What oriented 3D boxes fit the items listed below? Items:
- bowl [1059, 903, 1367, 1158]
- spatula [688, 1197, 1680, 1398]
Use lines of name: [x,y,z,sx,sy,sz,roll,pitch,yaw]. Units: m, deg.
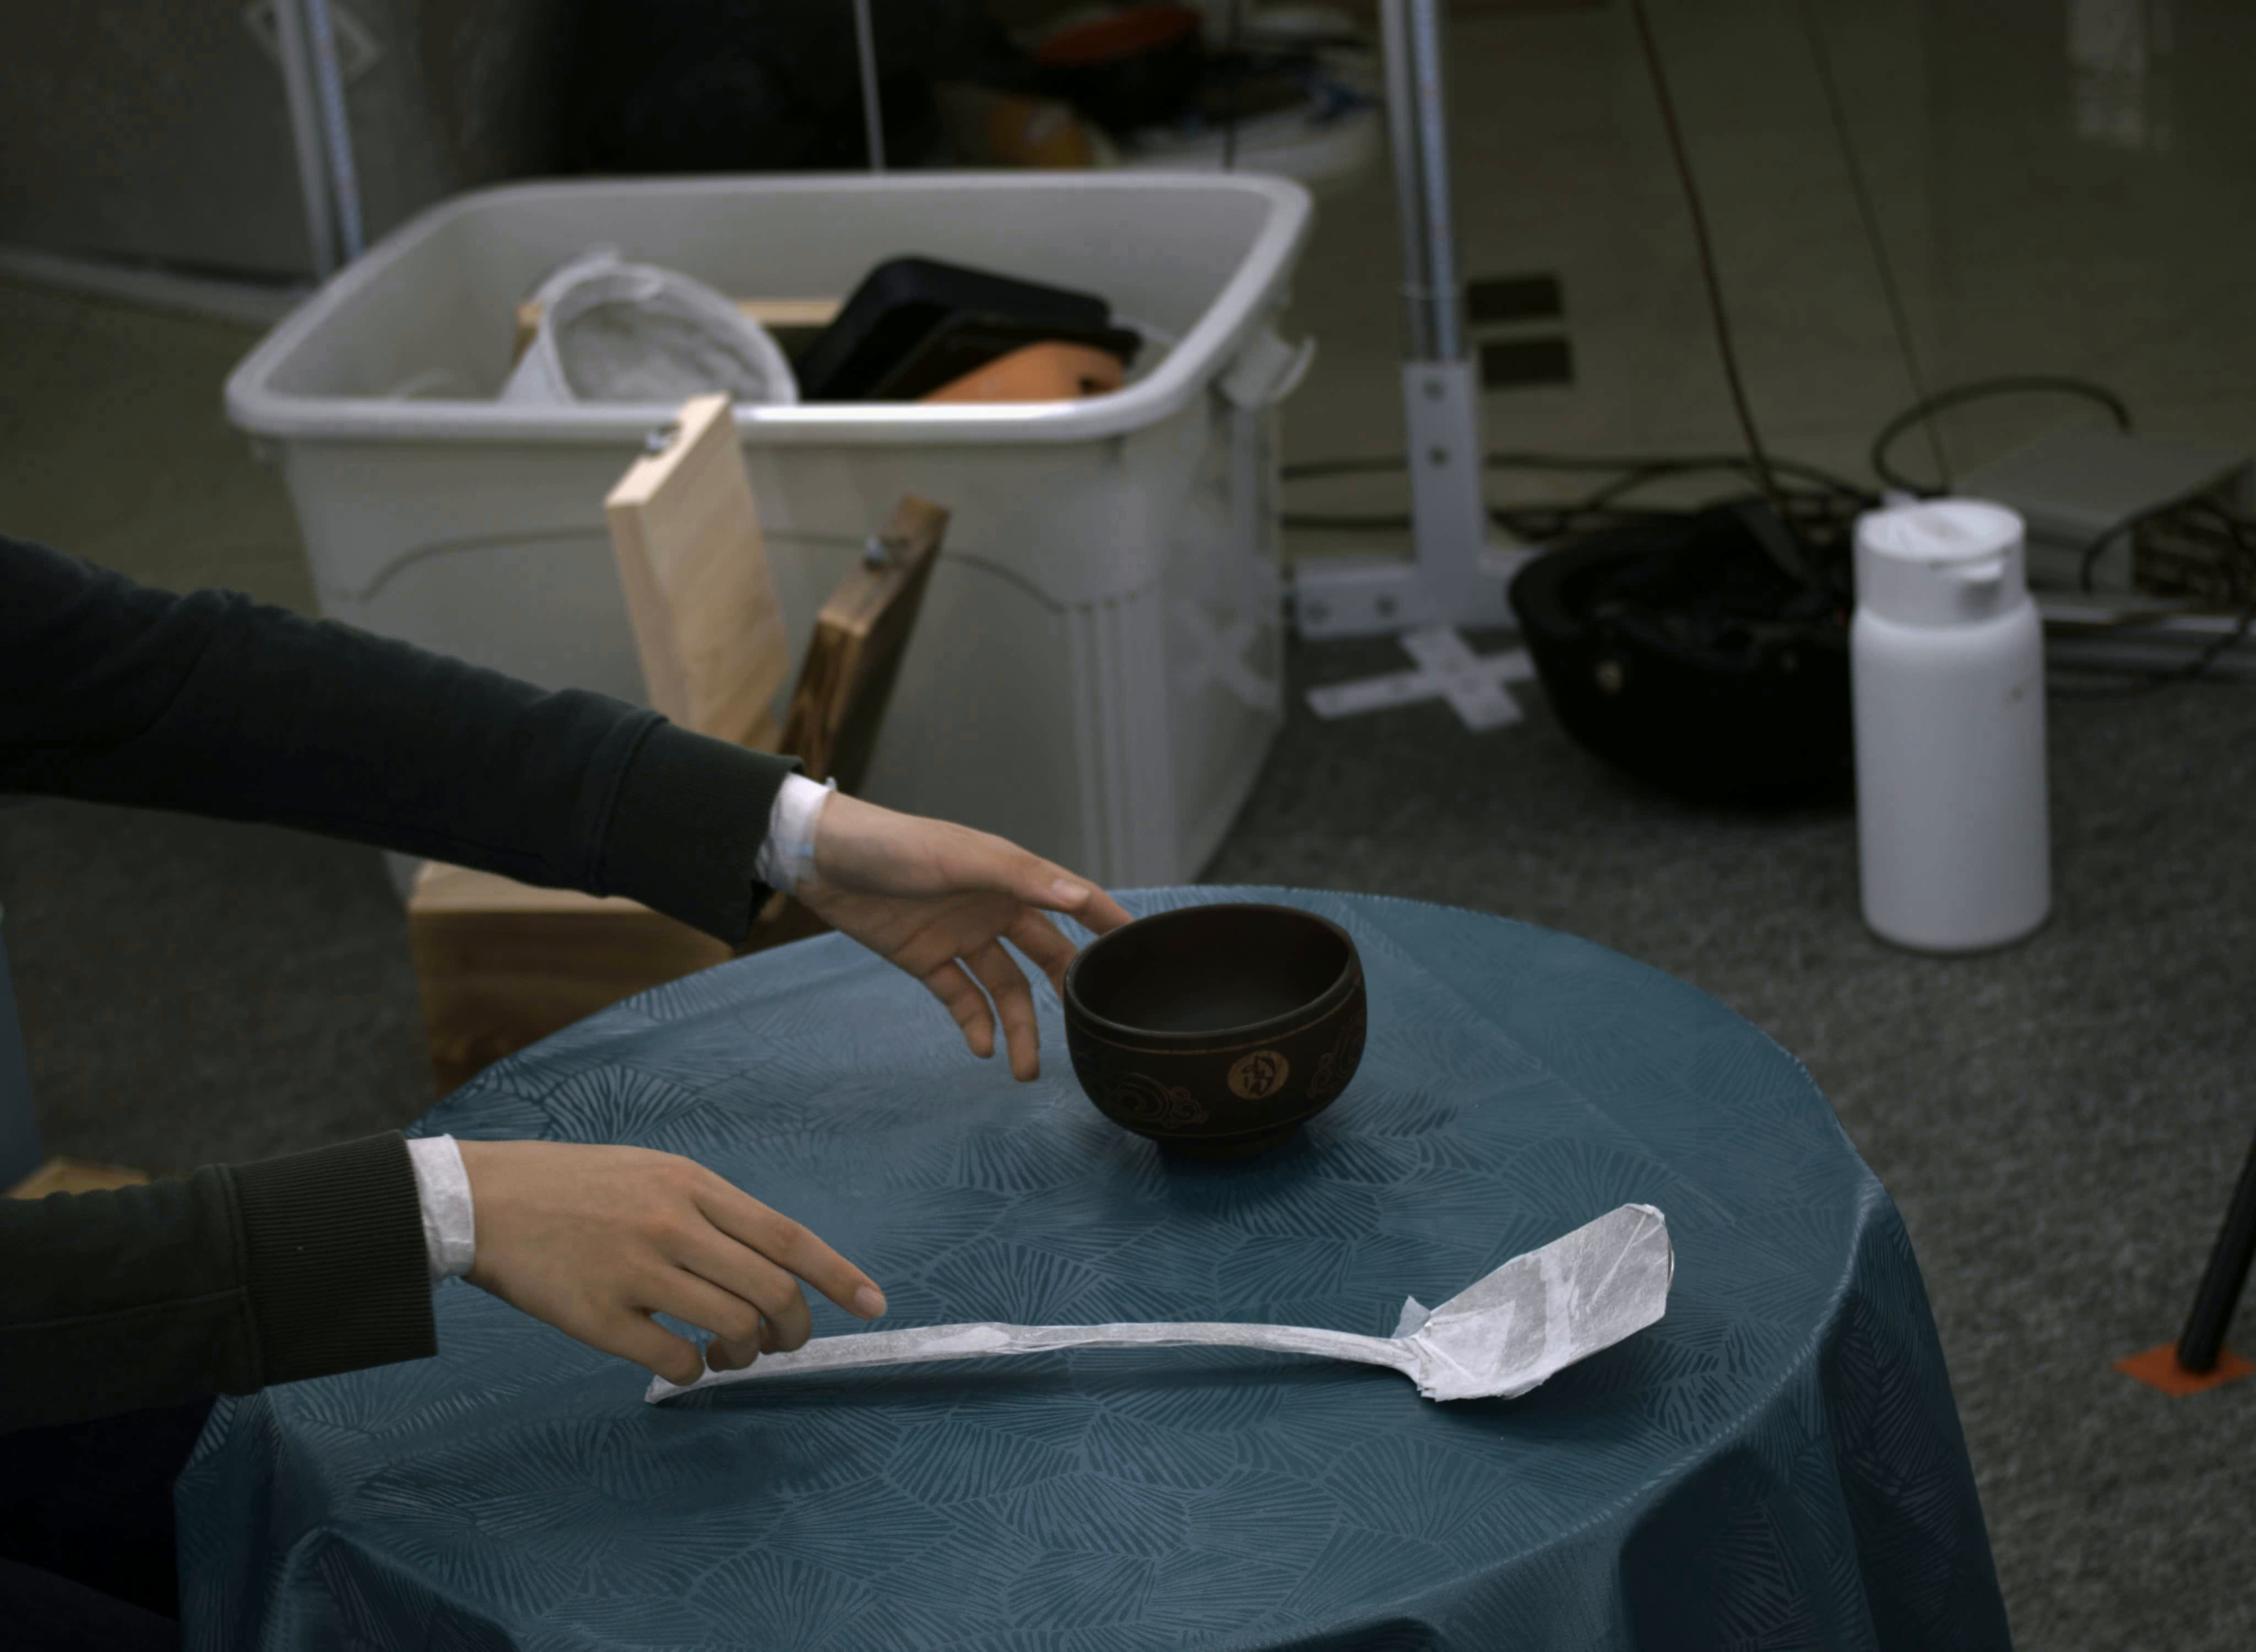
bowl: [0.034,0.084,2.176,0.118,0.071,0.116,-6,23,3]
spatula: [0.015,0.177,2.023,0.364,0.045,0.097,-2,27,9]
